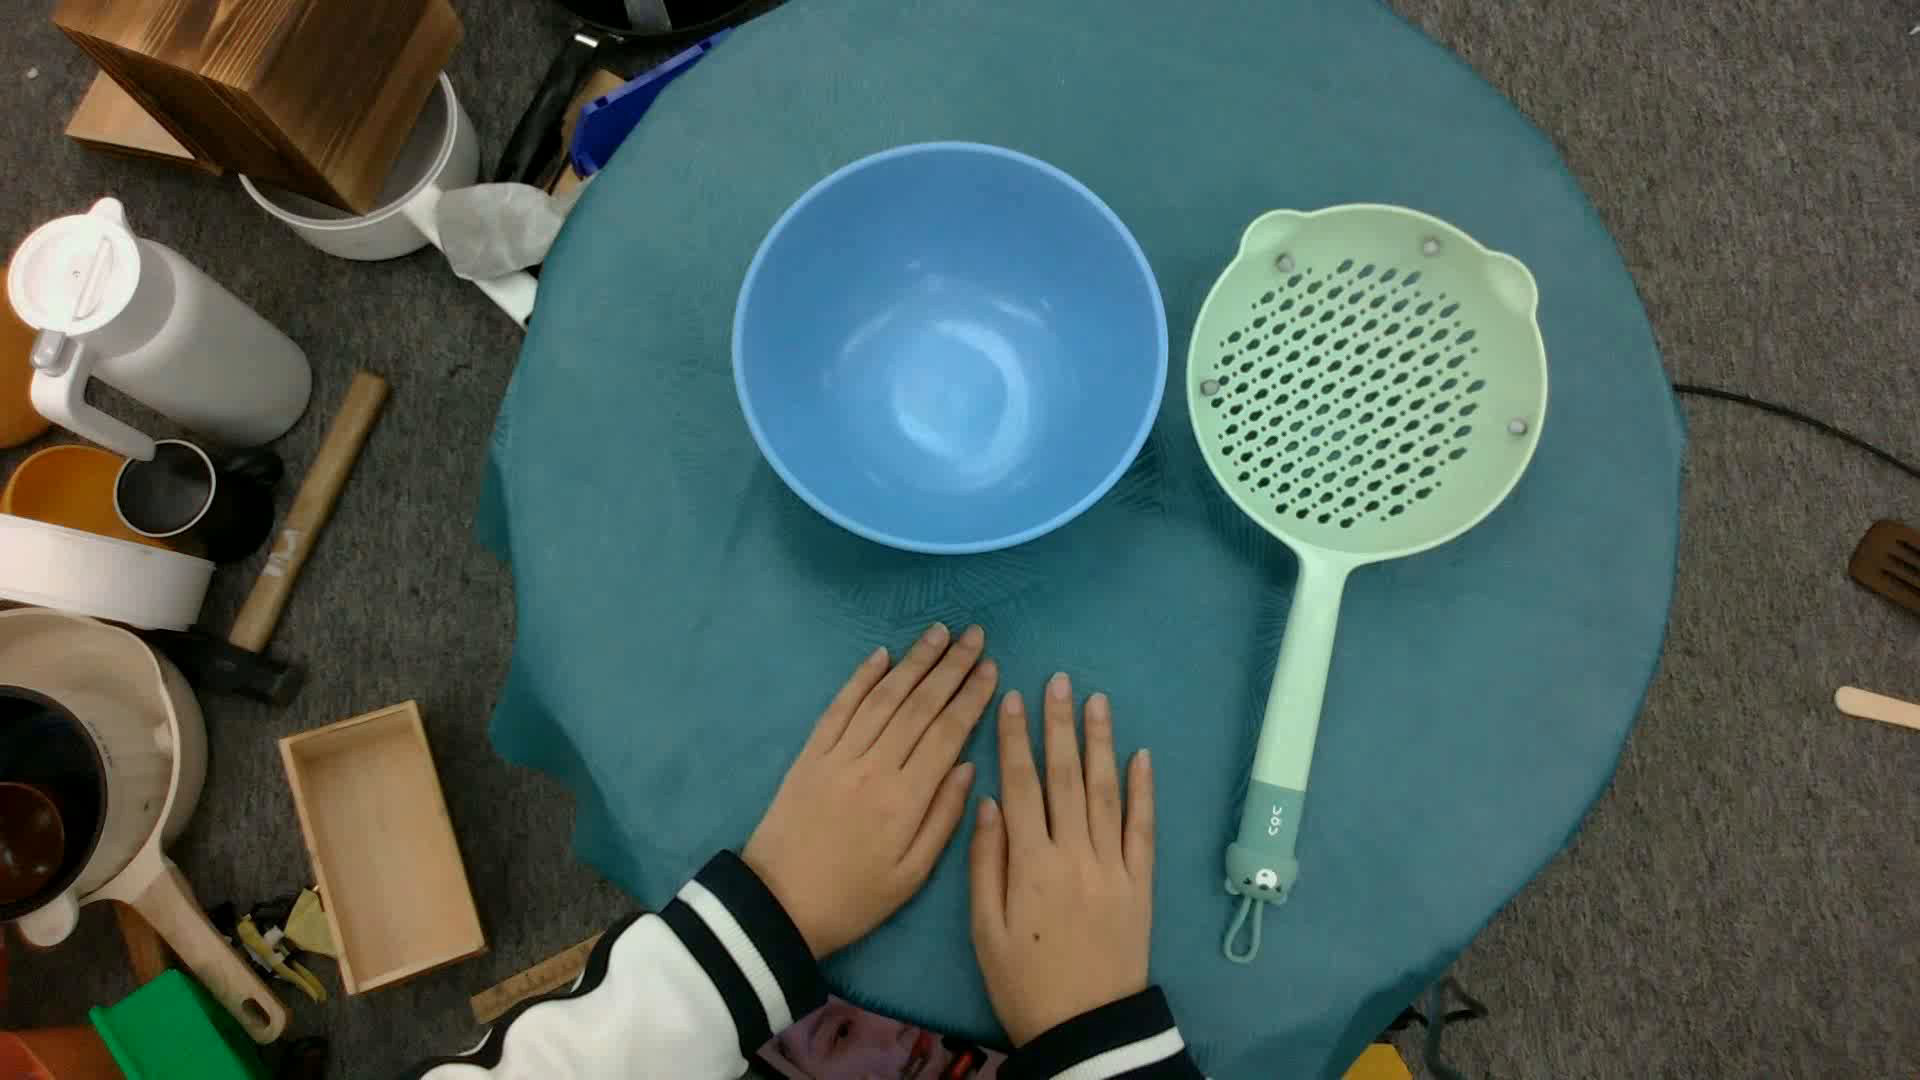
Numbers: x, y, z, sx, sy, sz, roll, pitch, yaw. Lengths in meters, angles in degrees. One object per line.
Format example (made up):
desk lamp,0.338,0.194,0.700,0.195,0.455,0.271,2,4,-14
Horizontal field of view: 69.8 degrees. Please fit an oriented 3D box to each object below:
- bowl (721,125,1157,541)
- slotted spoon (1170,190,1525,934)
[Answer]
bowl,-0.010,-0.087,0.662,0.196,0.095,0.197,0,78,-2
slotted spoon,0.164,0.012,0.663,0.169,0.075,0.359,13,79,2
